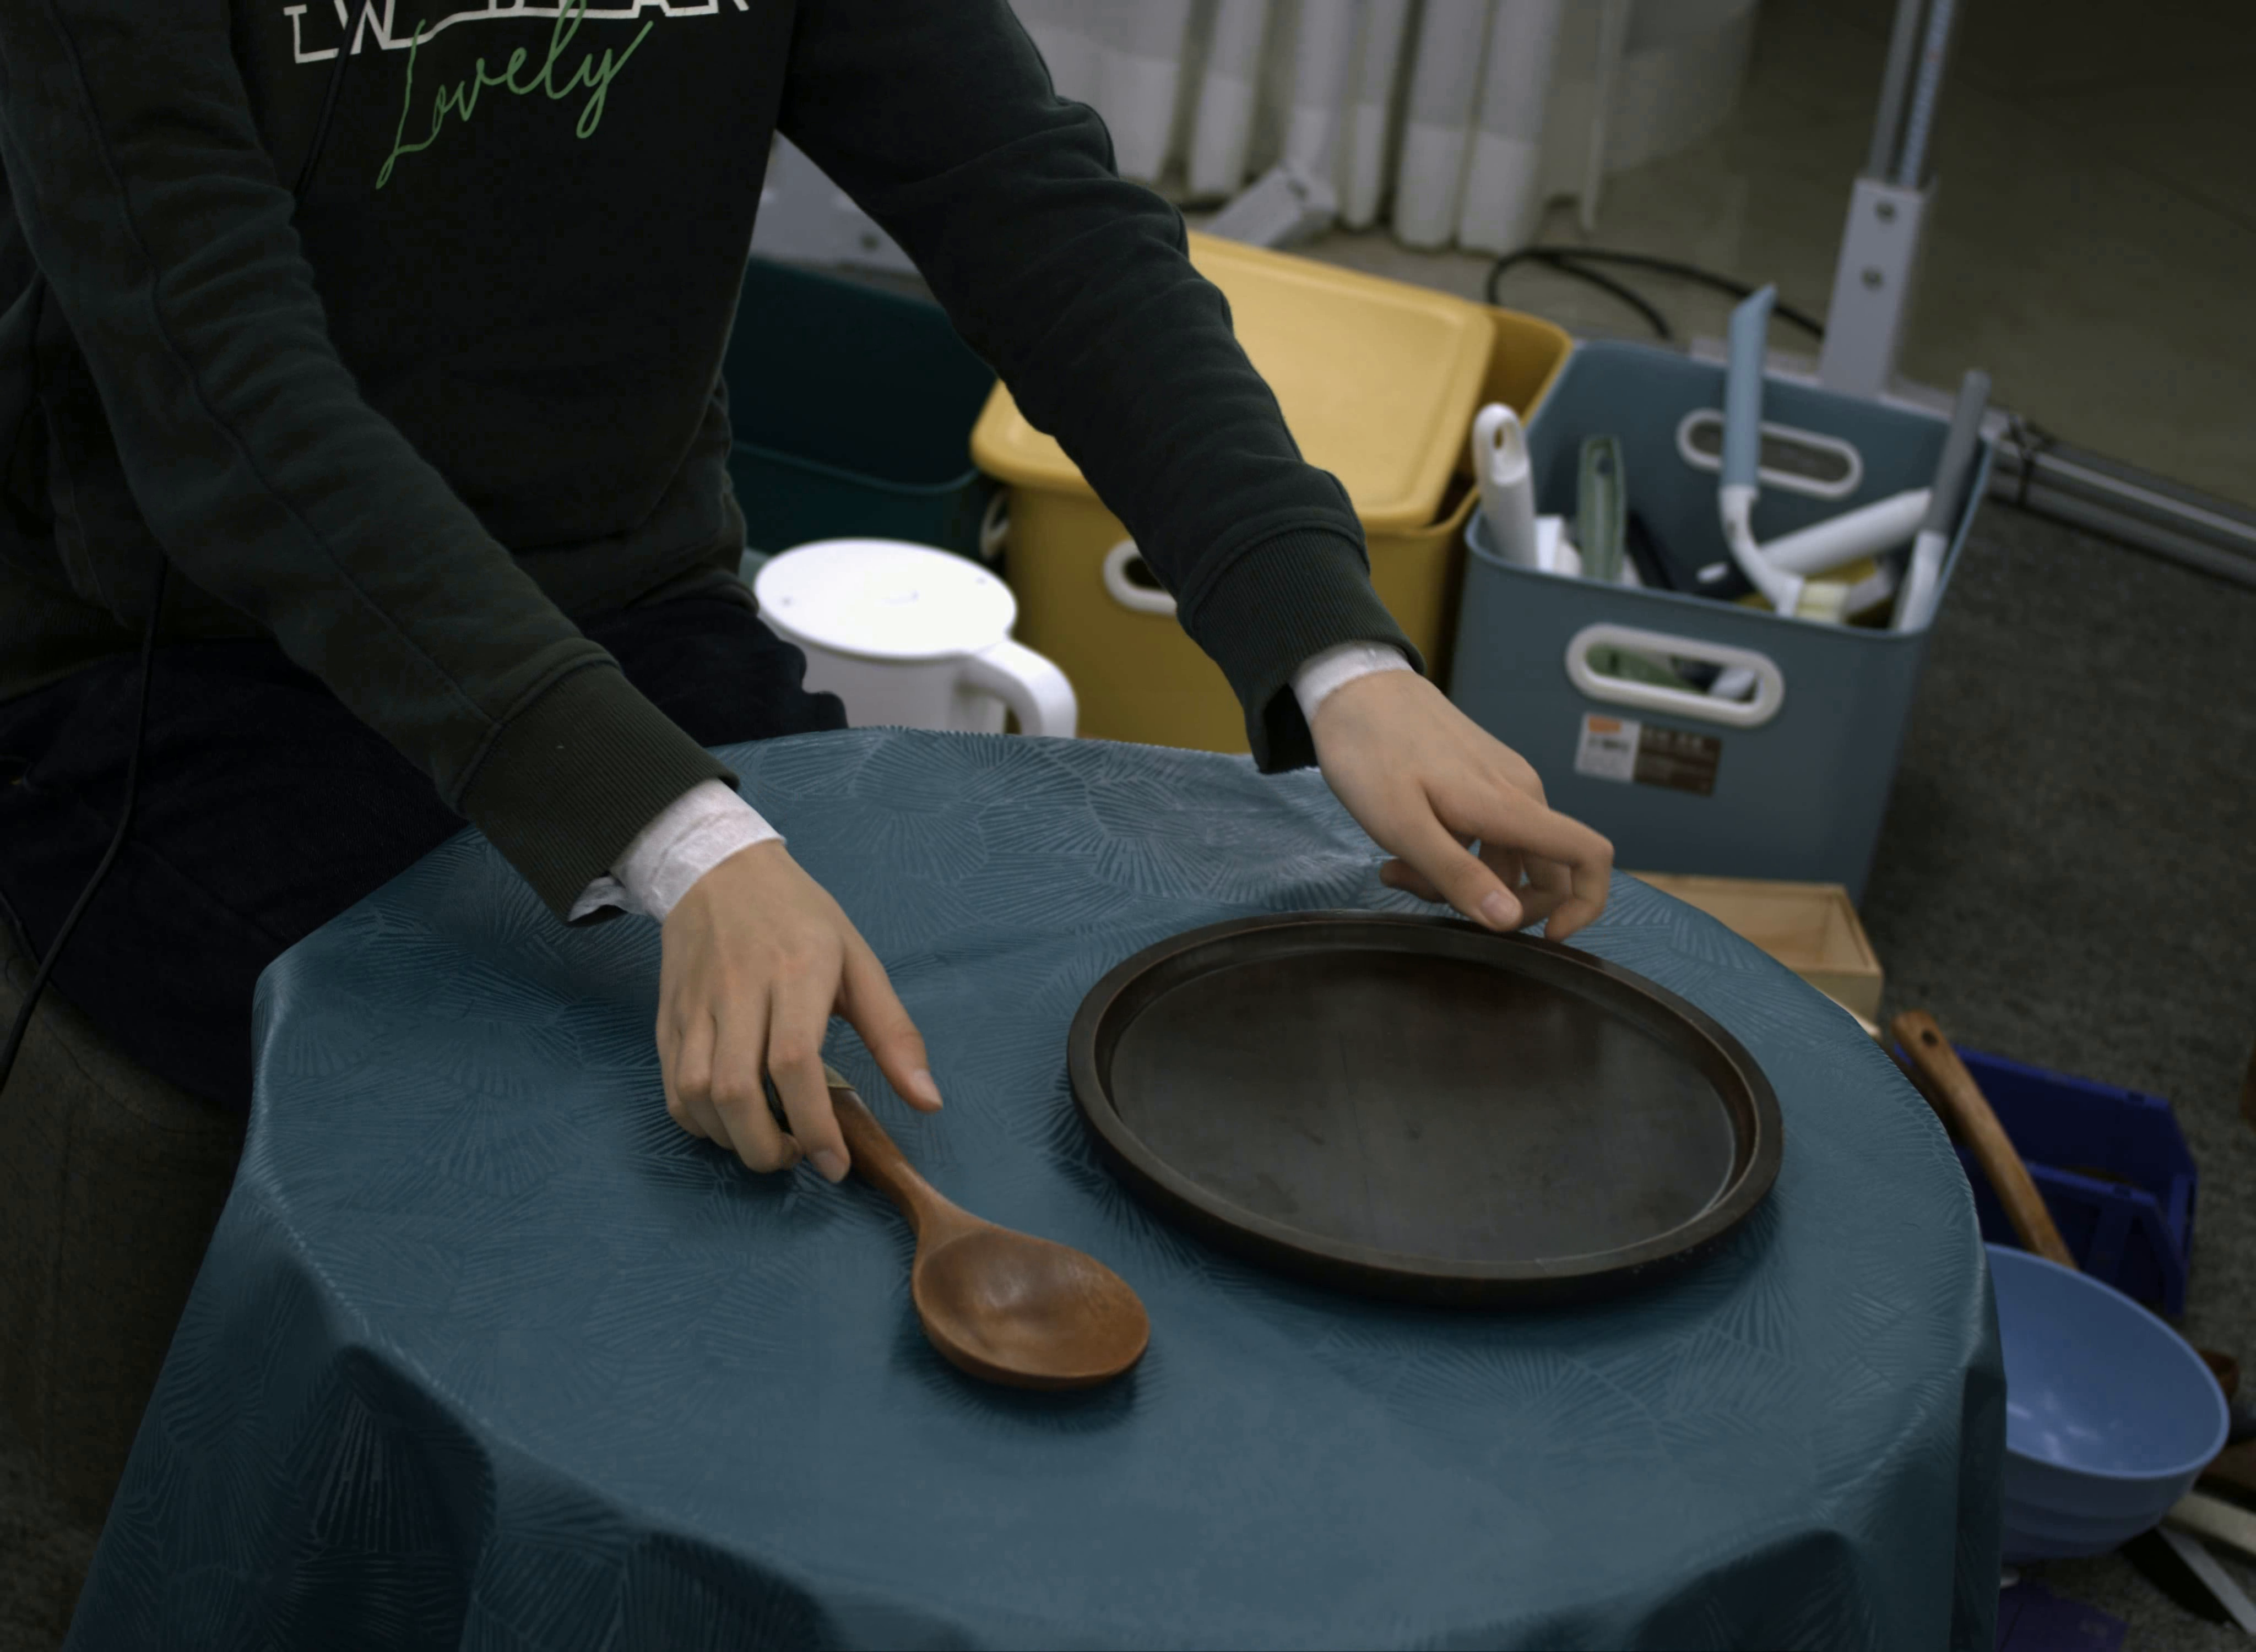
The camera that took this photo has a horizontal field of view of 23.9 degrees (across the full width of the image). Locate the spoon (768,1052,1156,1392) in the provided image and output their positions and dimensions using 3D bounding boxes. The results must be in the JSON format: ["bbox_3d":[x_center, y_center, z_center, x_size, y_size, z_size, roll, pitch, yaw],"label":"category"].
[{"bbox_3d":[-0.063,0.131,1.753,0.075,0.017,0.218,-10,31,-29],"label":"spoon"}]

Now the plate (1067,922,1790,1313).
[{"bbox_3d":[0.103,0.099,1.849,0.254,0.029,0.256,6,27,-3],"label":"plate"}]
